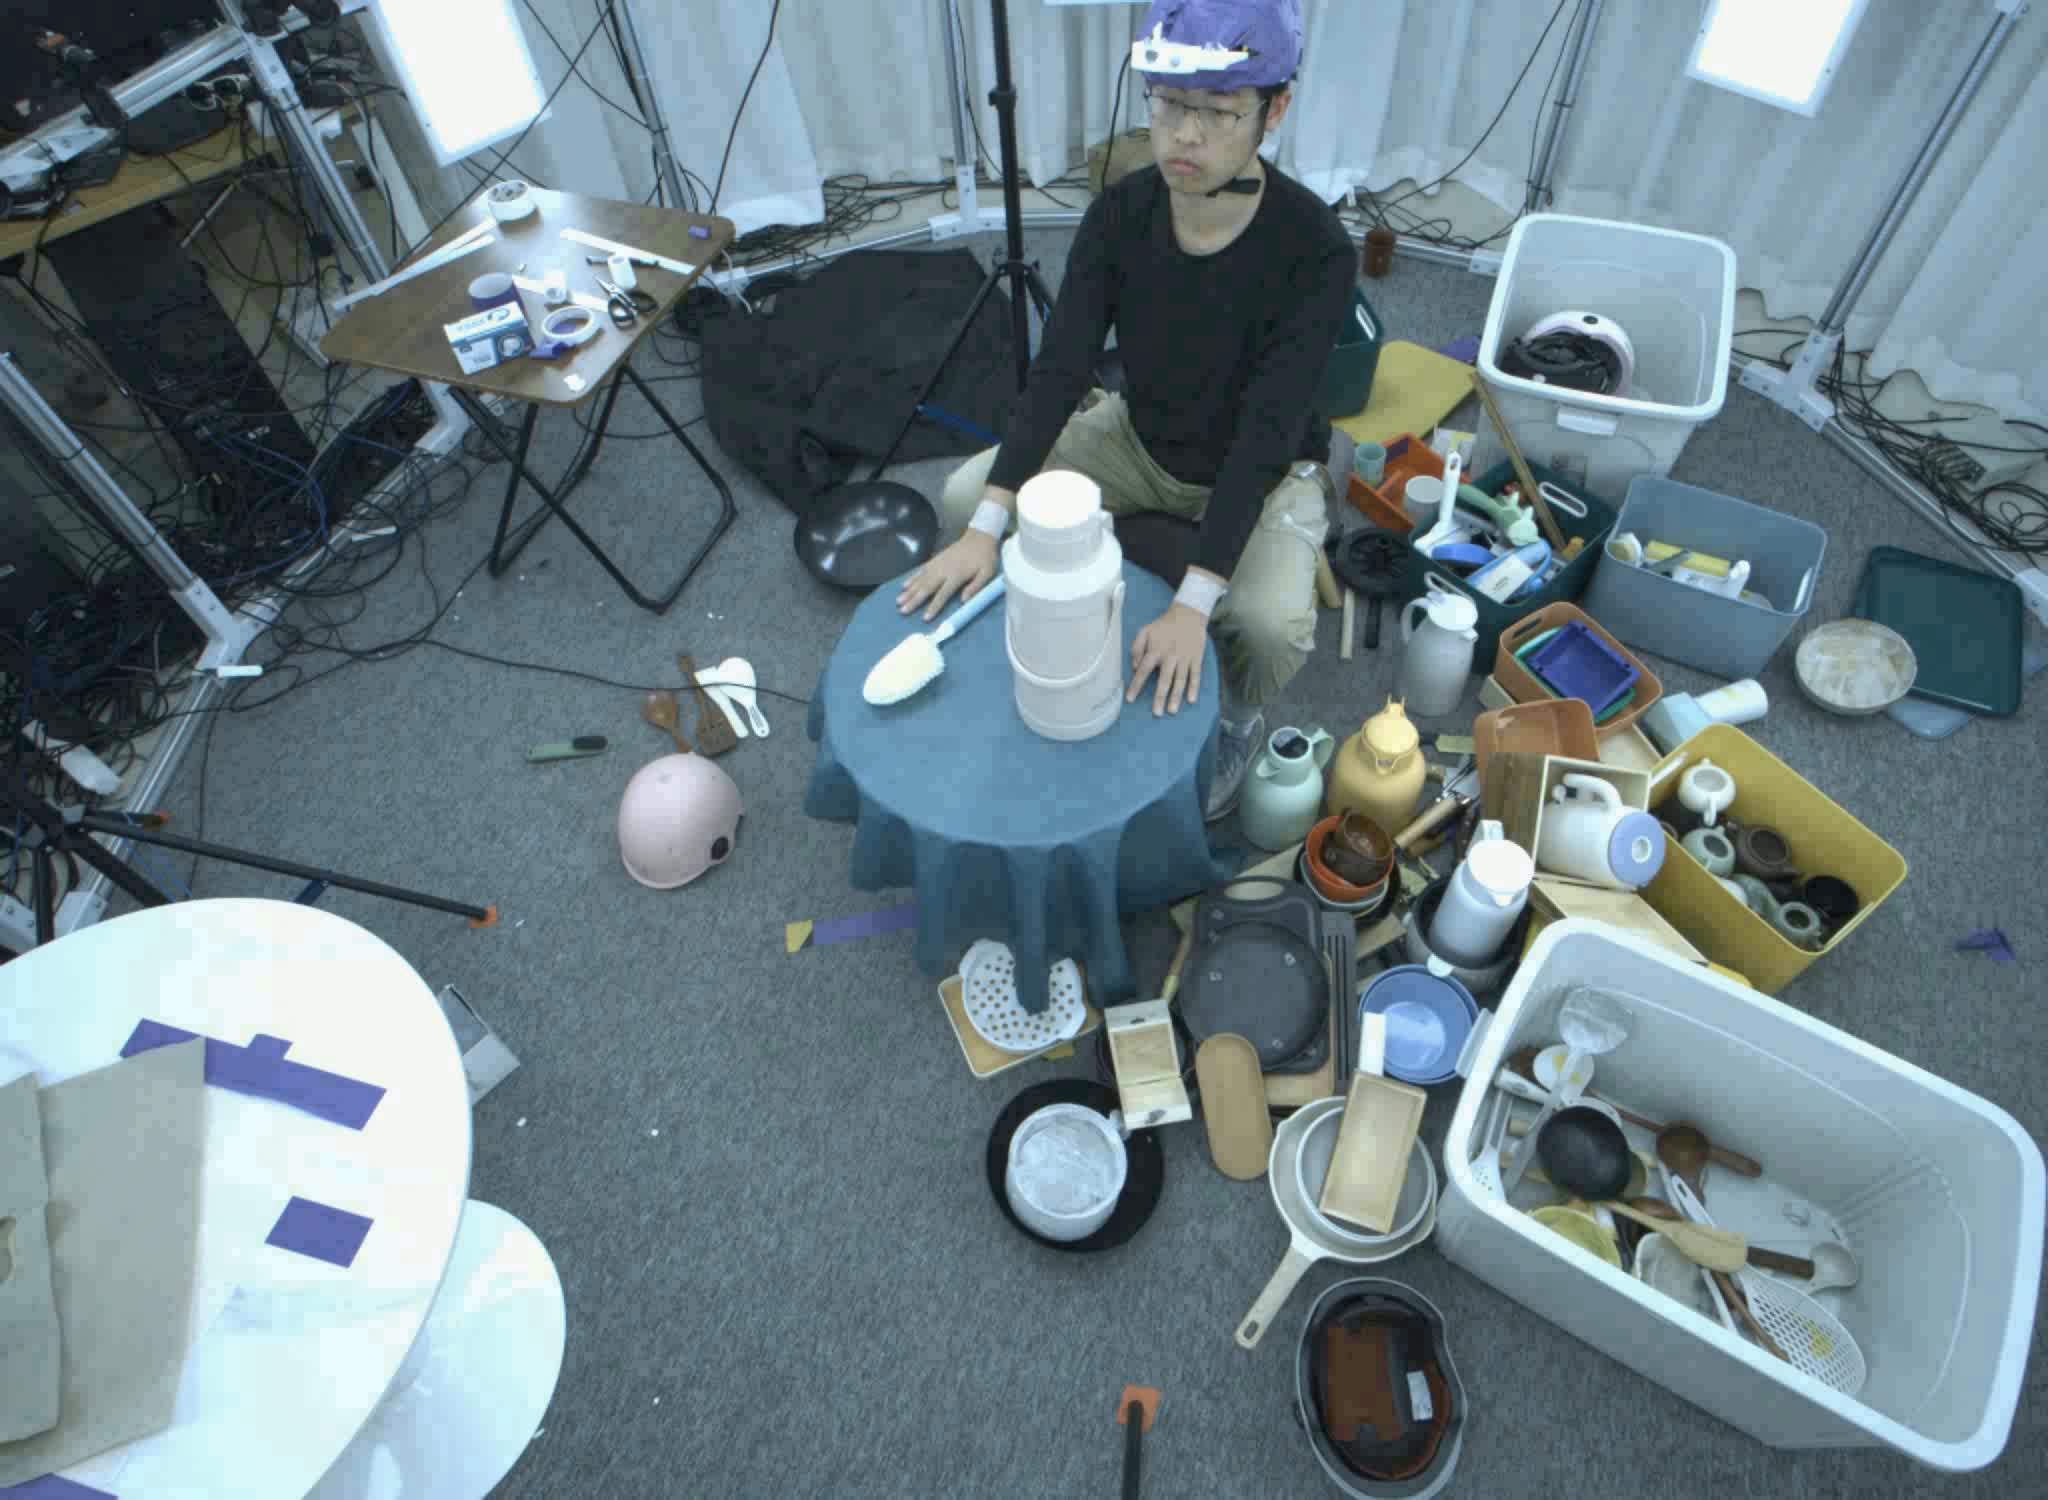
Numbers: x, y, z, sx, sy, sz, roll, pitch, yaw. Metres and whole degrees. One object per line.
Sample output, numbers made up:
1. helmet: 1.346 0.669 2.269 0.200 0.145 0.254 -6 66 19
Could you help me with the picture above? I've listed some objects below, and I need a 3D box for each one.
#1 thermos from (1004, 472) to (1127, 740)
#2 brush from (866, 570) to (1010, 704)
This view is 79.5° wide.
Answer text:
1. thermos: 0.066 -0.202 1.684 0.173 0.411 0.207 23 59 20
2. brush: -0.115 -0.183 1.871 0.083 0.084 0.327 33 64 30
